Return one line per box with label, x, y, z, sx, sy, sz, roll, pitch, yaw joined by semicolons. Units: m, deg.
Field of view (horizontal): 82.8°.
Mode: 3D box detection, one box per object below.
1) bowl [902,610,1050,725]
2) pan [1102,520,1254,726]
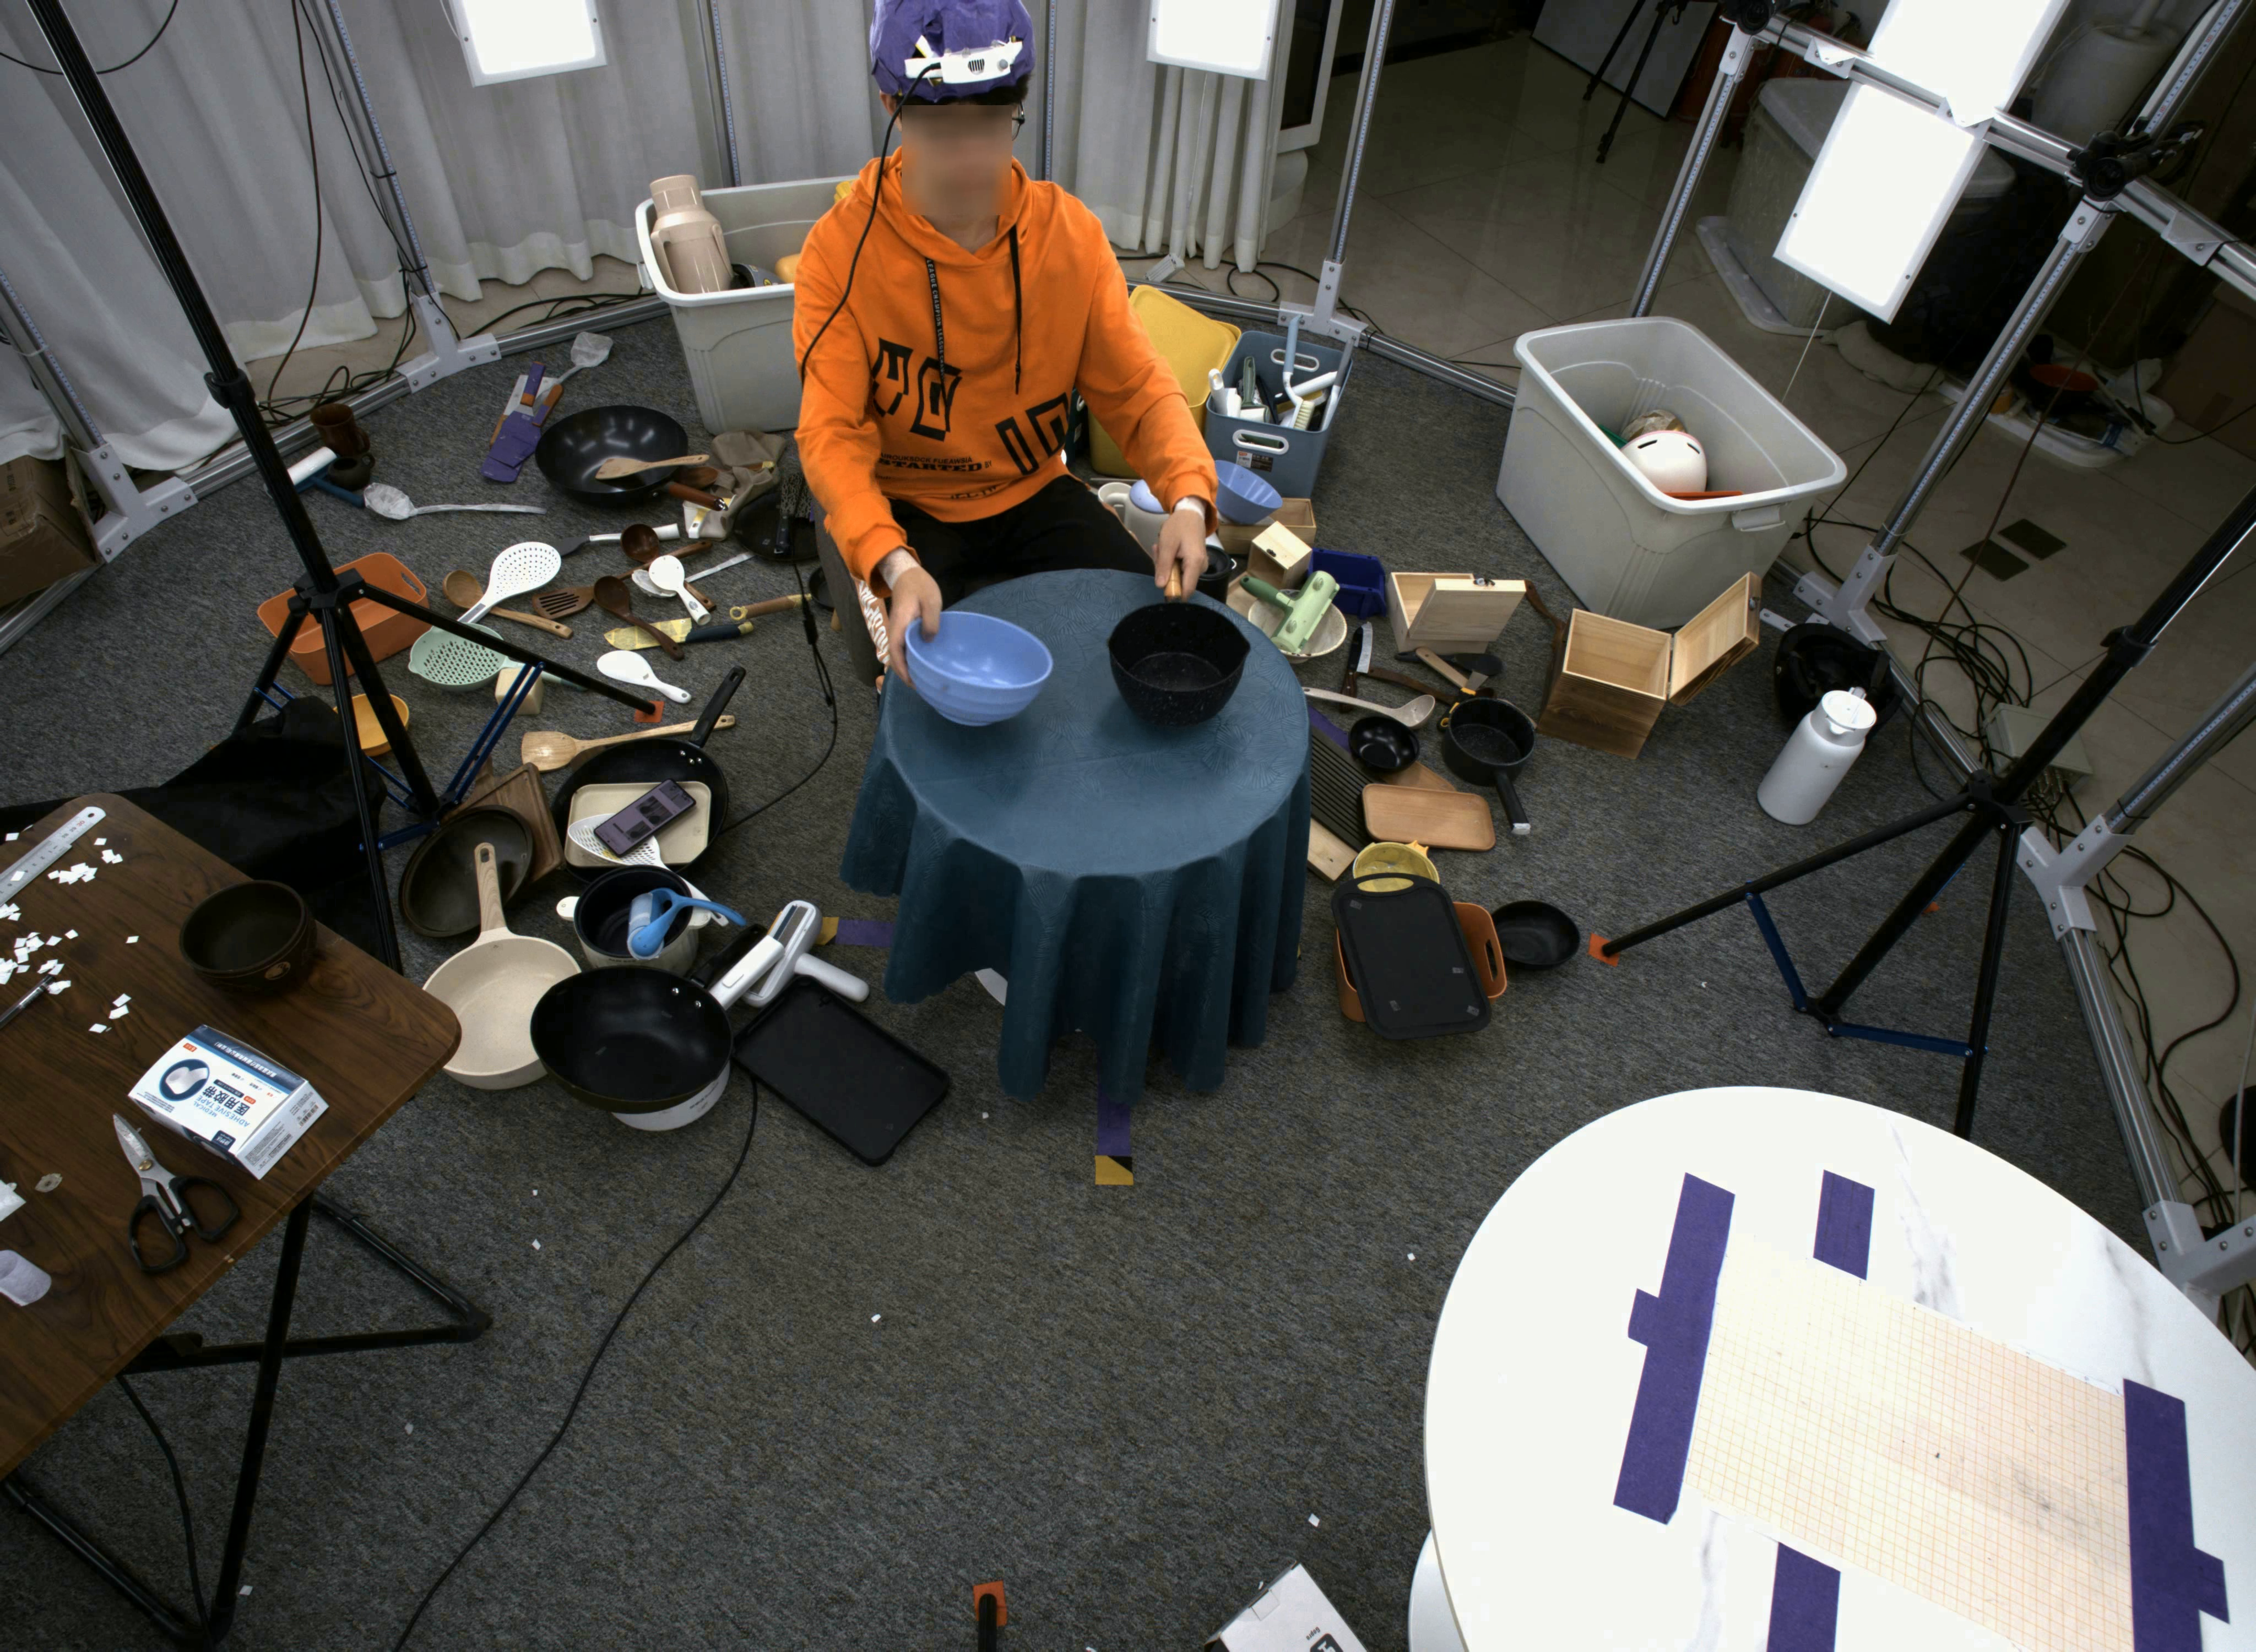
bowl;-0.211;-0.199;1.707;0.196;0.093;0.201;14;31;-9
pan;0.064;-0.288;1.819;0.207;0.105;0.351;-2;49;-2
